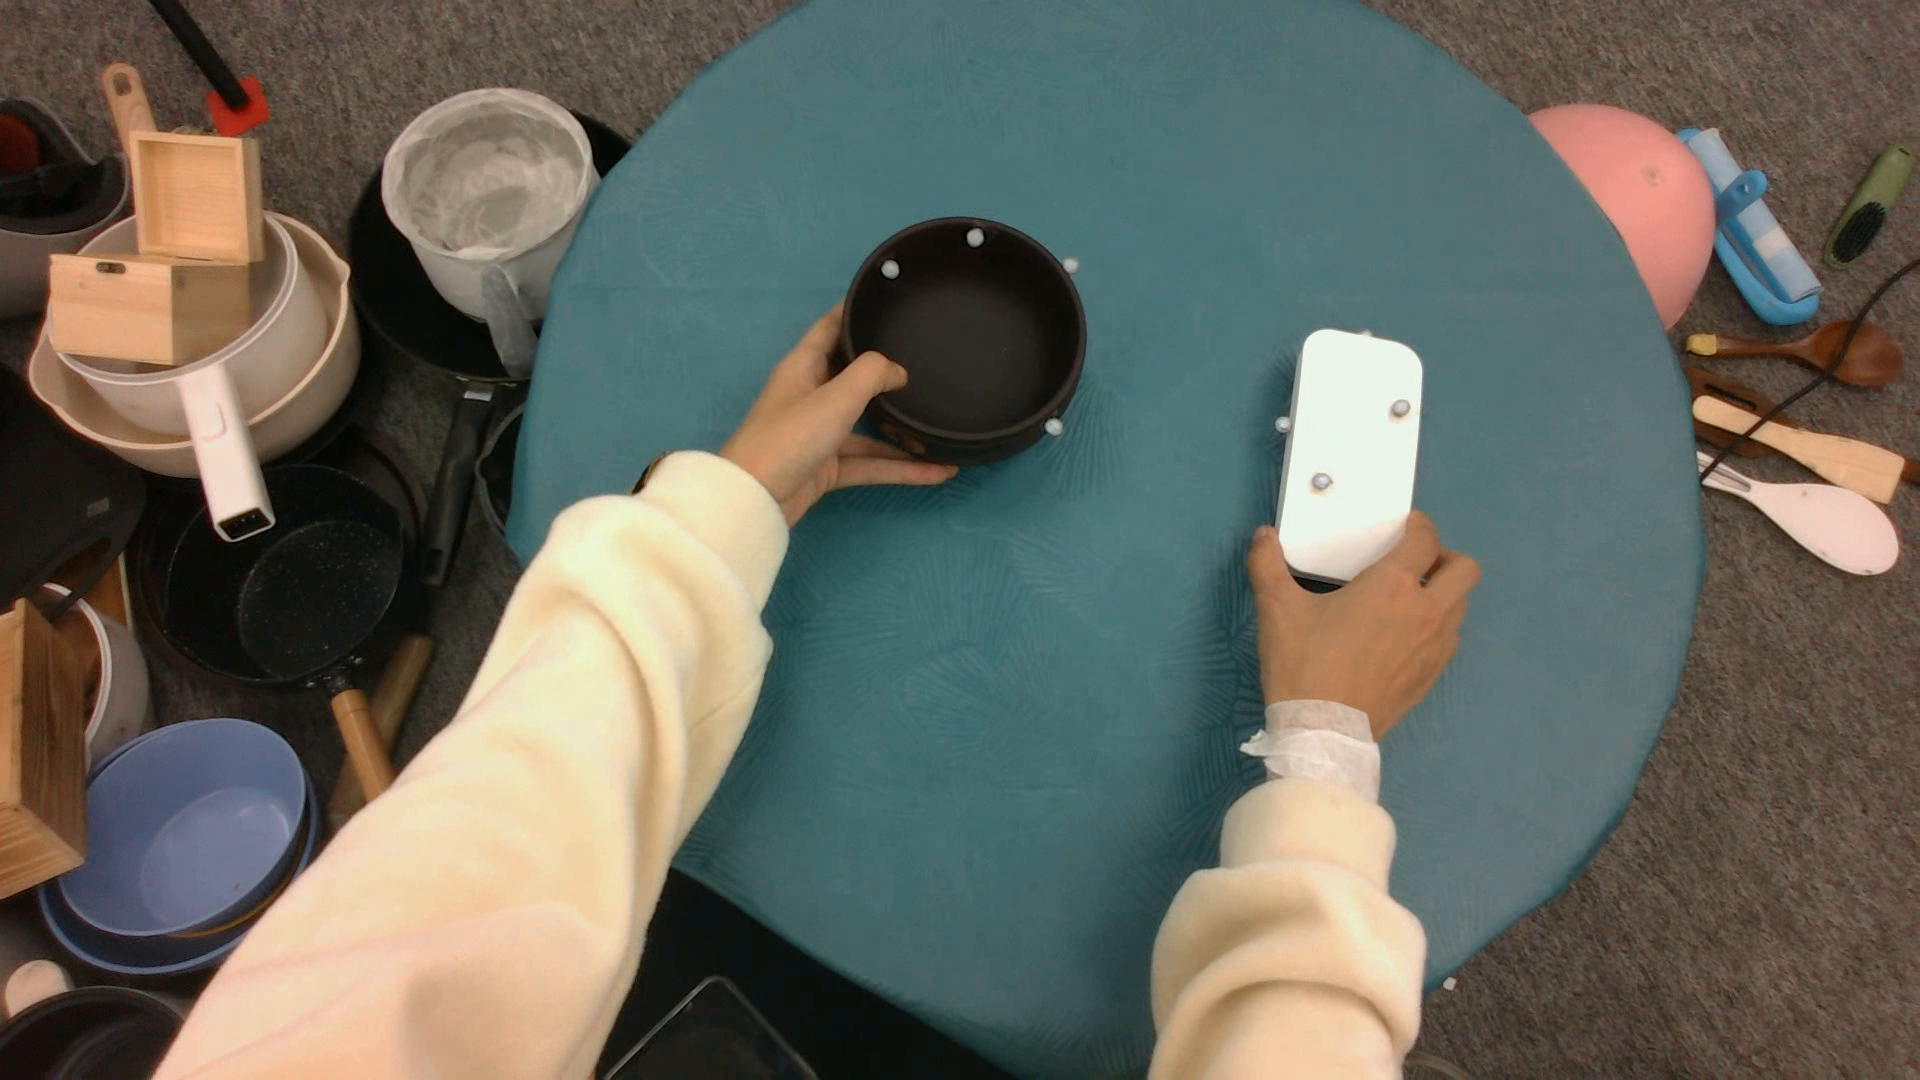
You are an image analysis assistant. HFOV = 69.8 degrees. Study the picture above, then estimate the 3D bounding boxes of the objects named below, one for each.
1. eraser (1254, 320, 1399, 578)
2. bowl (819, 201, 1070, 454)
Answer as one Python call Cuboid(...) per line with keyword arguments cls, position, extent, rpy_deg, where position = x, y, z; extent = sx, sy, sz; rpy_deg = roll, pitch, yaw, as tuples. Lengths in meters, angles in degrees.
Cuboid(cls="eraser", position=(0.181, -0.047, 0.688), extent=(0.063, 0.034, 0.131), rpy_deg=(12, 71, -2))
Cuboid(cls="bowl", position=(-0.008, -0.096, 0.665), extent=(0.118, 0.069, 0.118), rpy_deg=(1, 73, -2))
